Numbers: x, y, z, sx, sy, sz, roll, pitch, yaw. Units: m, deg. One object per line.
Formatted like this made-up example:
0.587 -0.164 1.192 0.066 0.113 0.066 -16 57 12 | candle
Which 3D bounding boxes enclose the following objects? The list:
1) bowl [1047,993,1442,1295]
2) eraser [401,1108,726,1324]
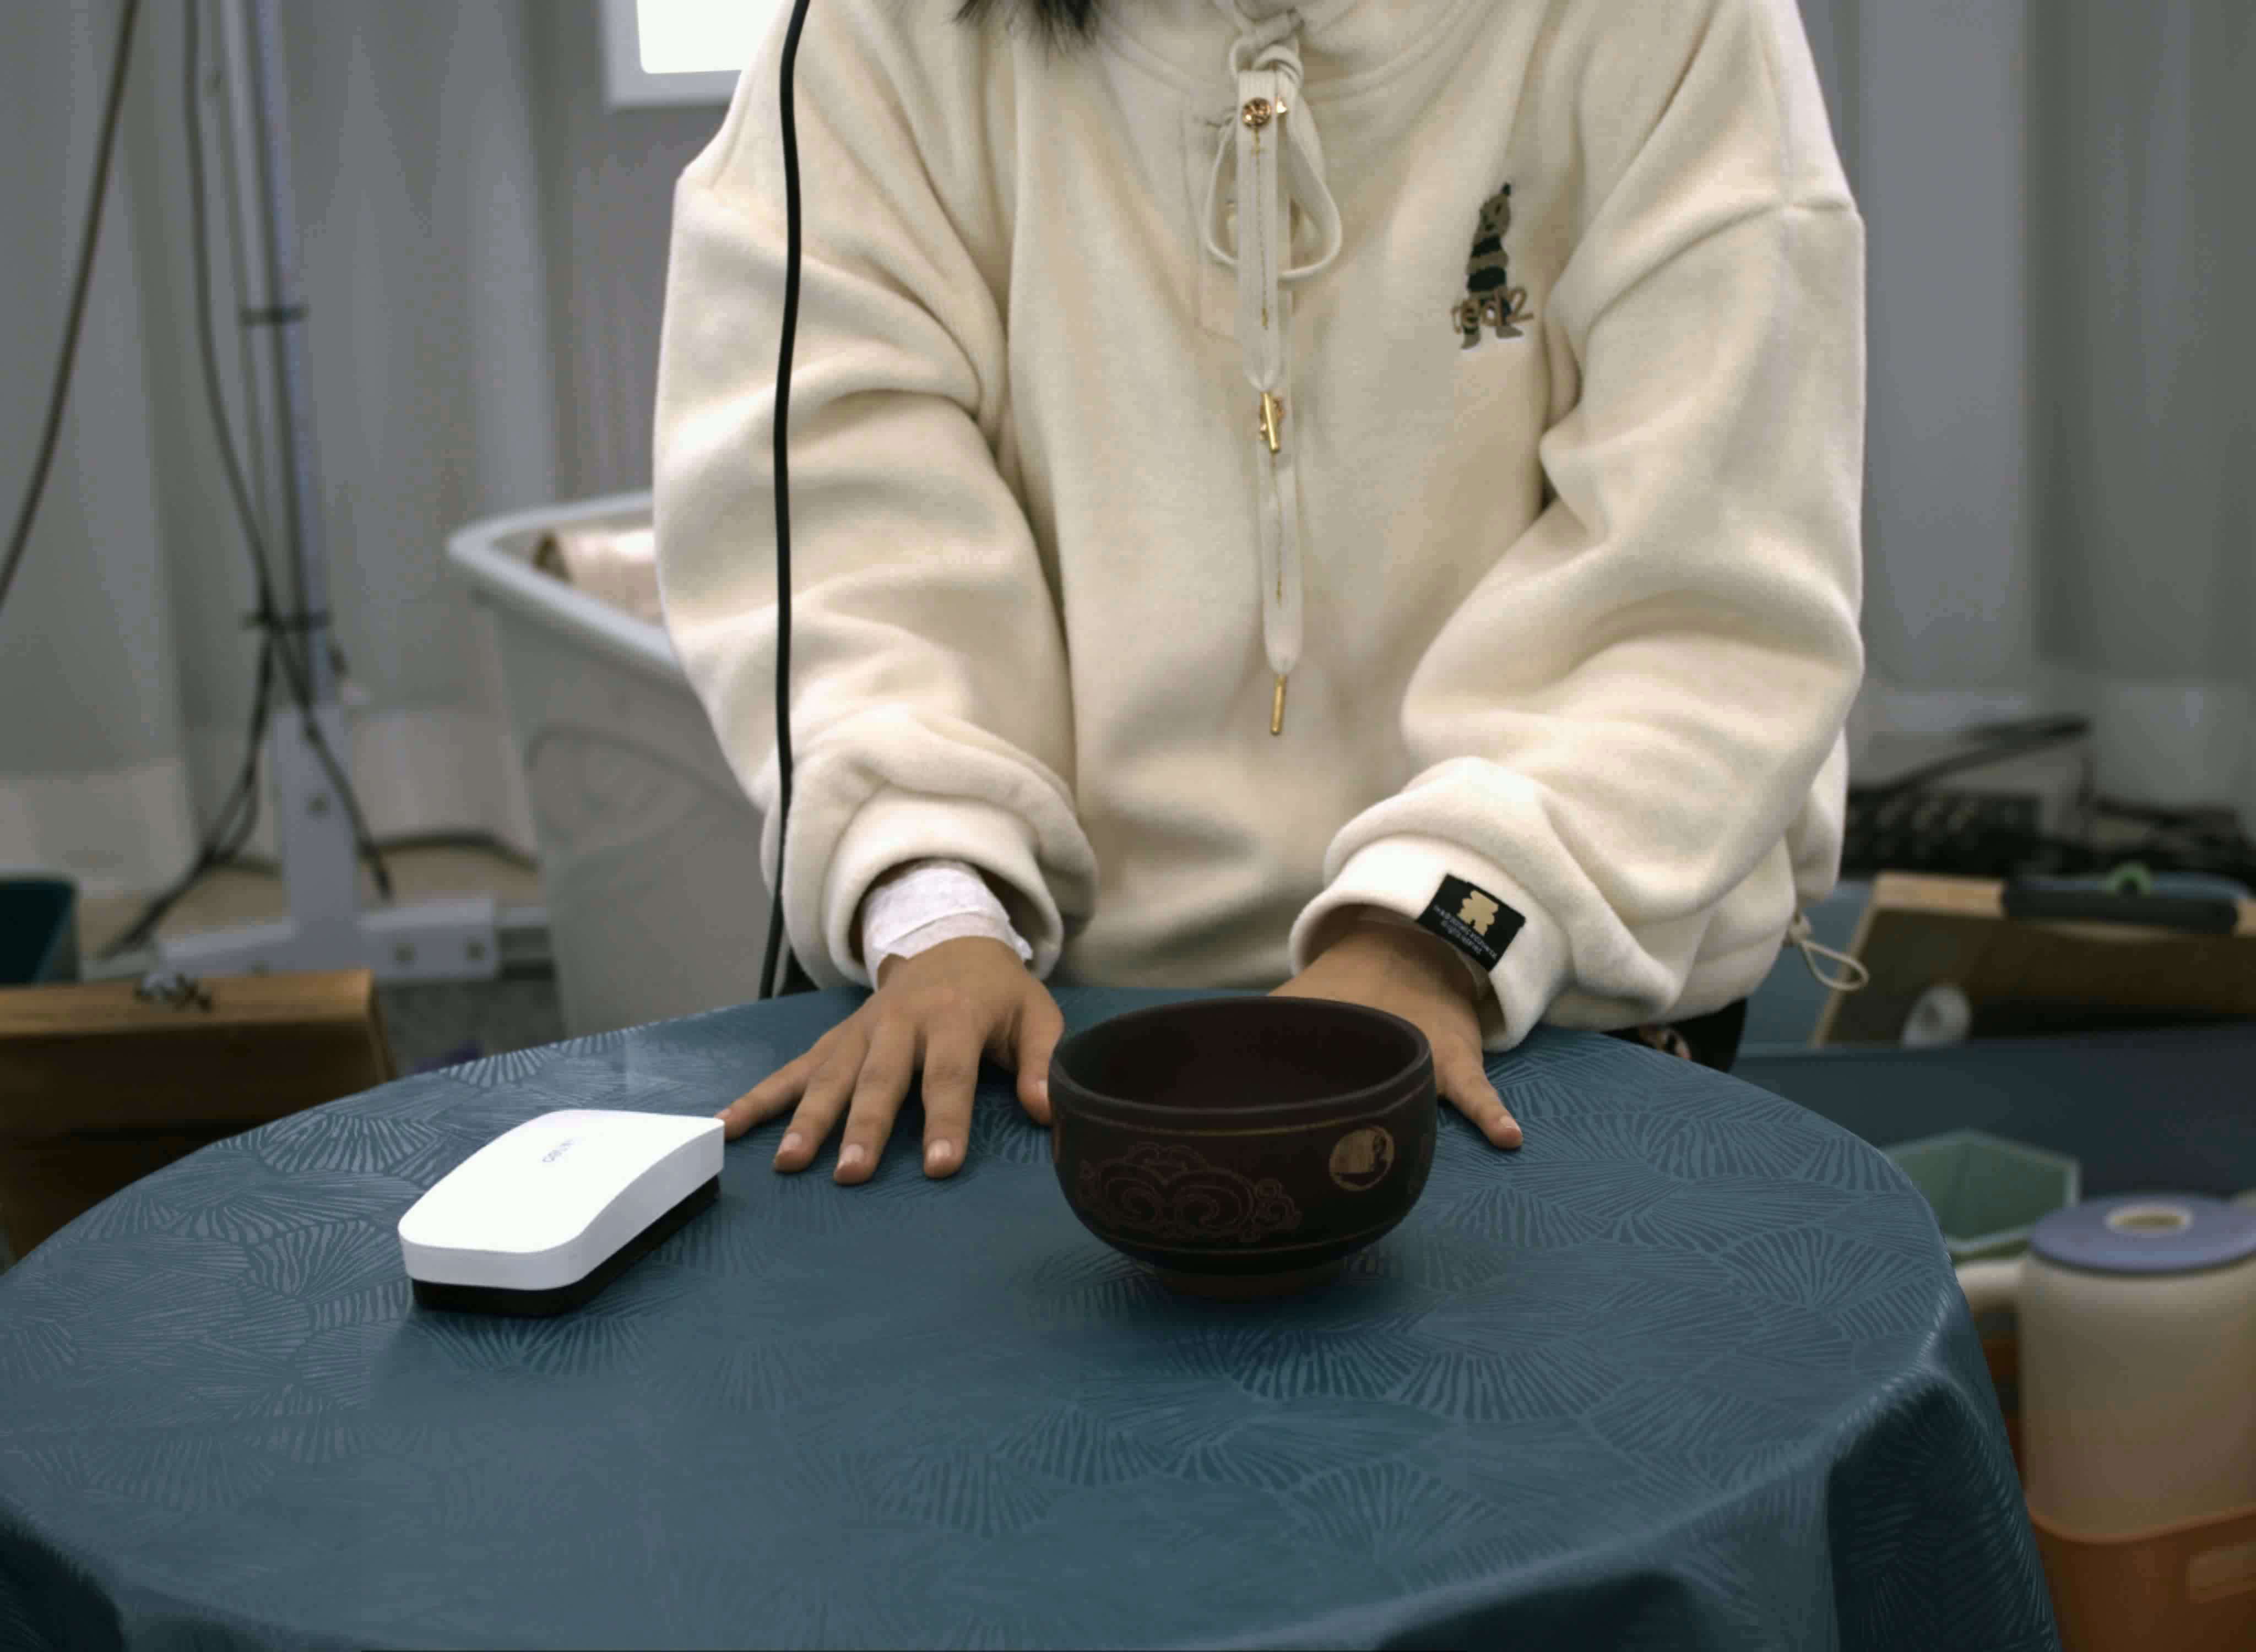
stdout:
0.035 0.098 1.630 0.117 0.069 0.119 -1 14 0 | bowl
-0.171 0.116 1.685 0.063 0.034 0.132 3 16 20 | eraser
